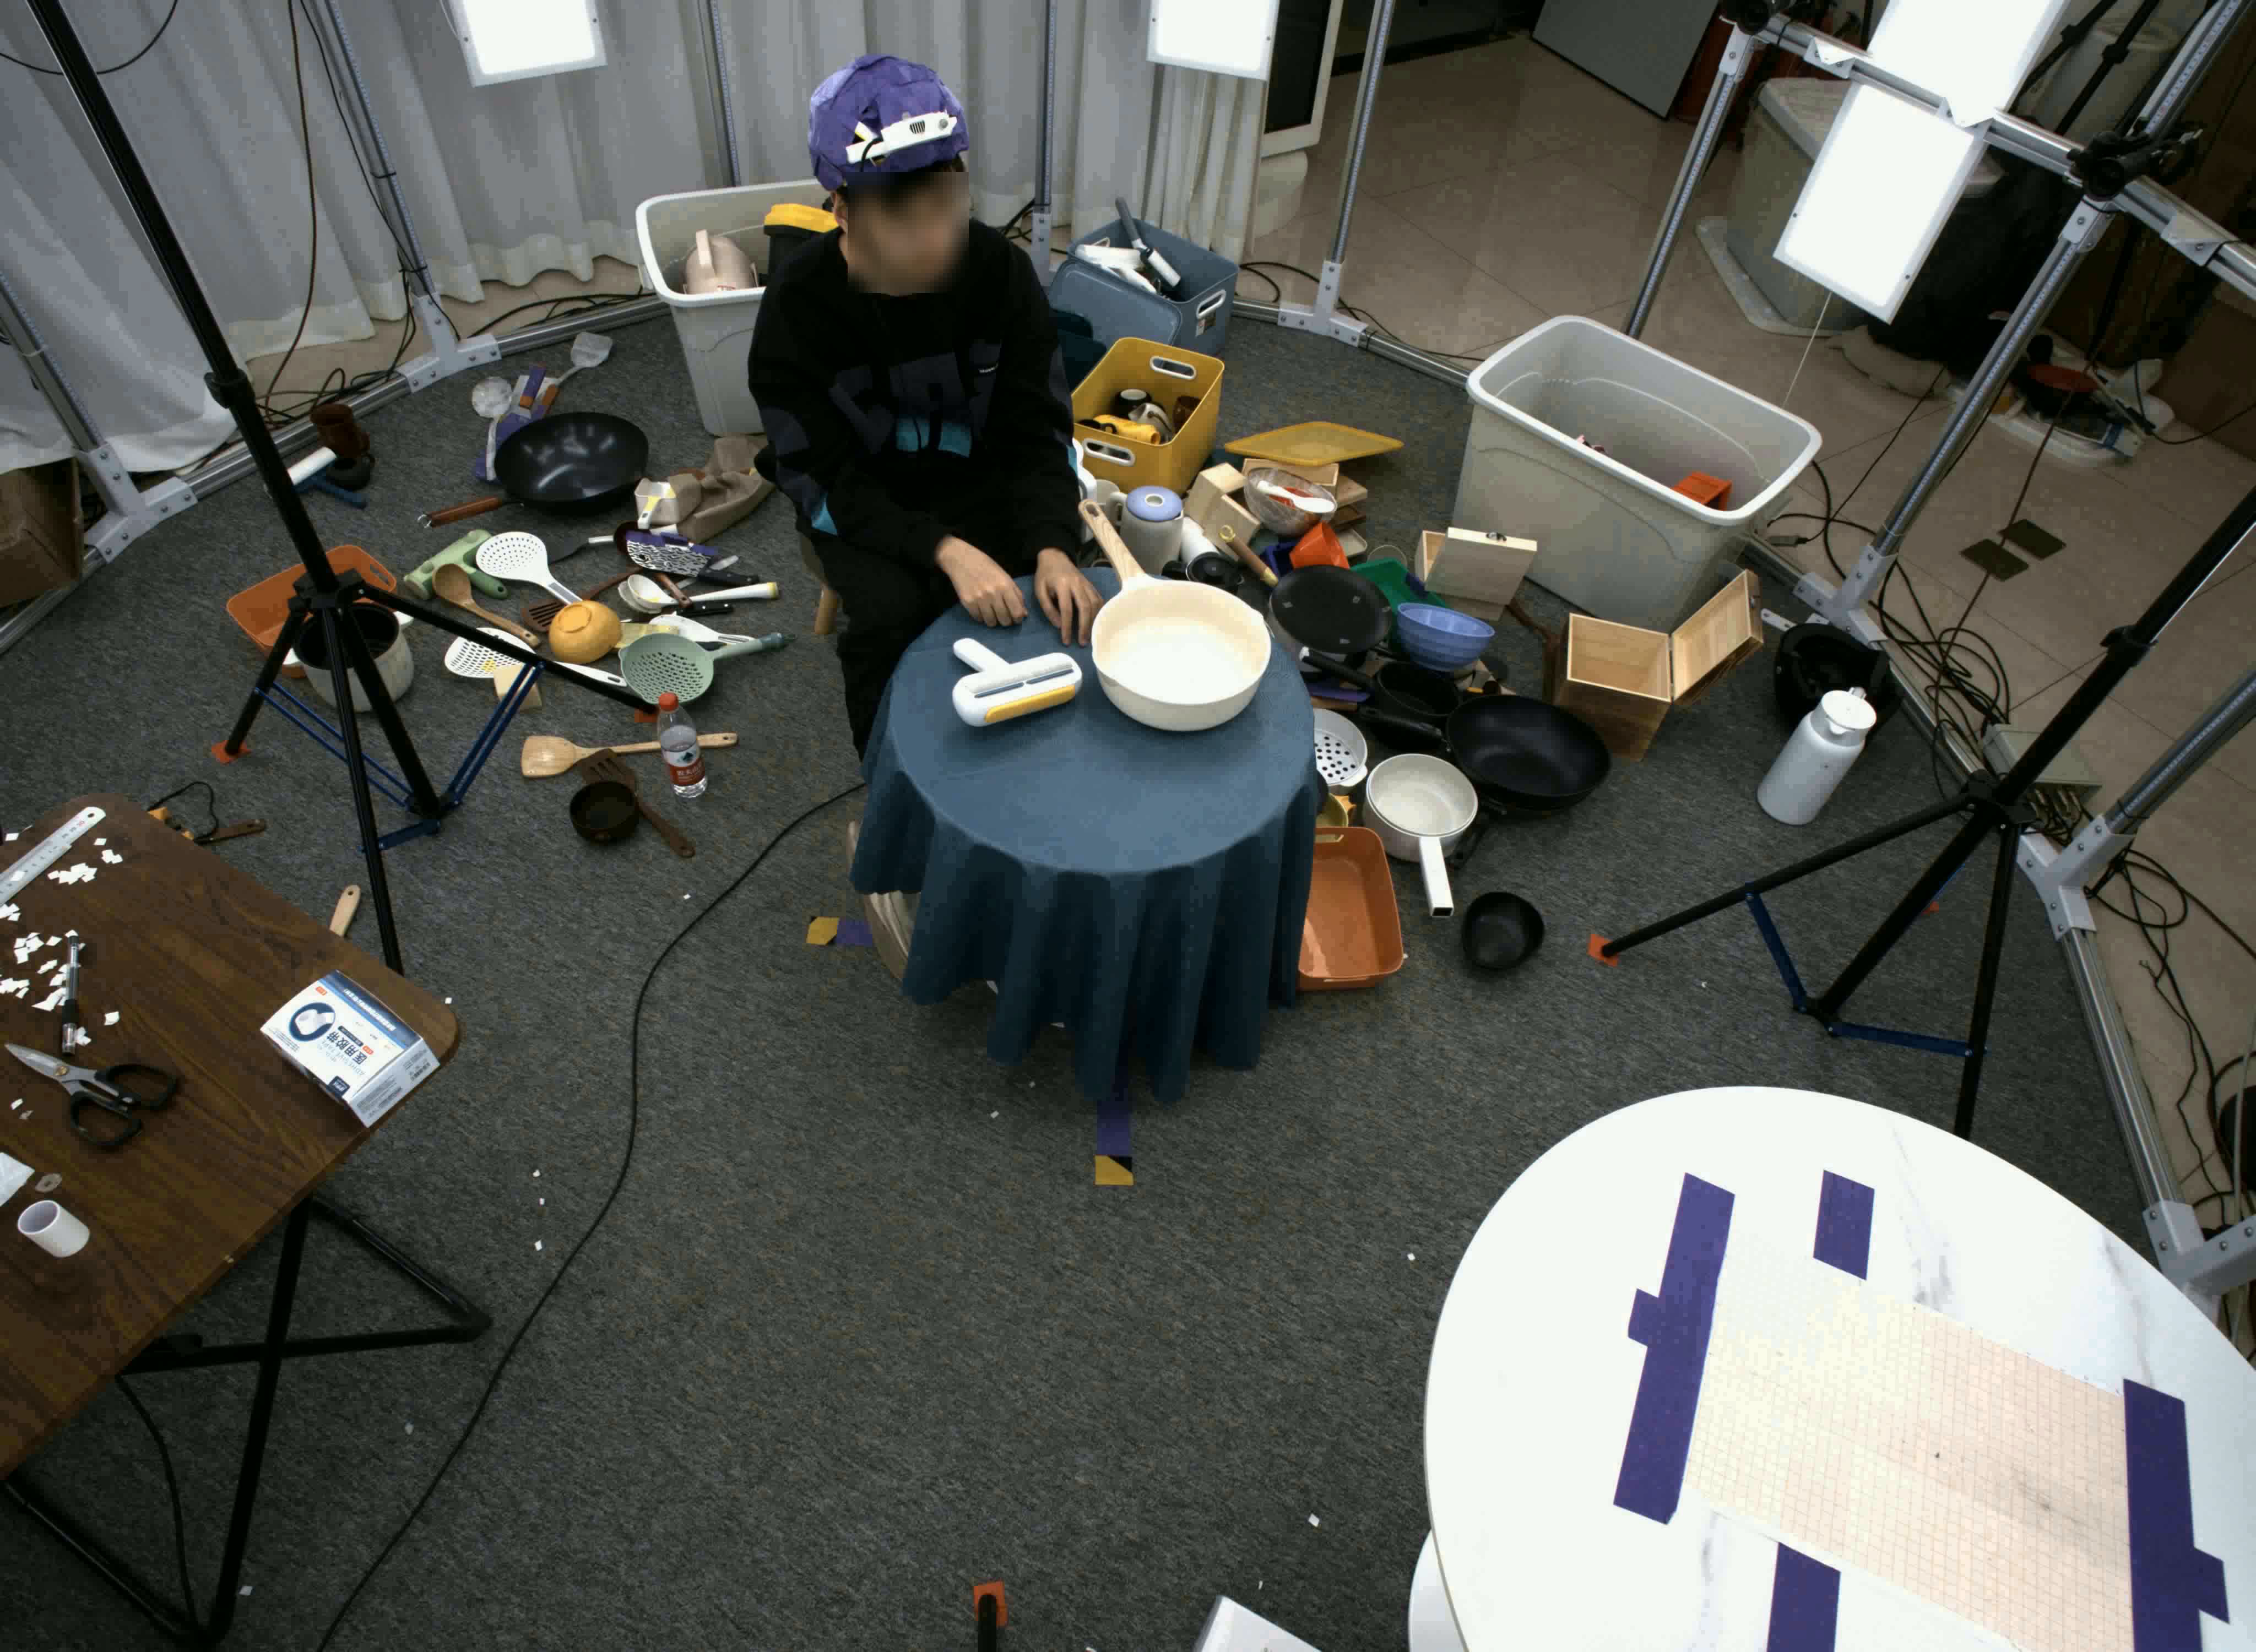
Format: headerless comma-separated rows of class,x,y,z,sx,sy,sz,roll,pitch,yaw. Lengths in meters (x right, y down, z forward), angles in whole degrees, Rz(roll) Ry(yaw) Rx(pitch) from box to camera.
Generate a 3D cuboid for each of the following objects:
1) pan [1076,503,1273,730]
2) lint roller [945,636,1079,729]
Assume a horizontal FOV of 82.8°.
pan,0.034,-0.308,1.873,0.264,0.099,0.444,-21,54,-17
lint roller,-0.188,-0.219,1.803,0.193,0.072,0.196,-19,51,-26
